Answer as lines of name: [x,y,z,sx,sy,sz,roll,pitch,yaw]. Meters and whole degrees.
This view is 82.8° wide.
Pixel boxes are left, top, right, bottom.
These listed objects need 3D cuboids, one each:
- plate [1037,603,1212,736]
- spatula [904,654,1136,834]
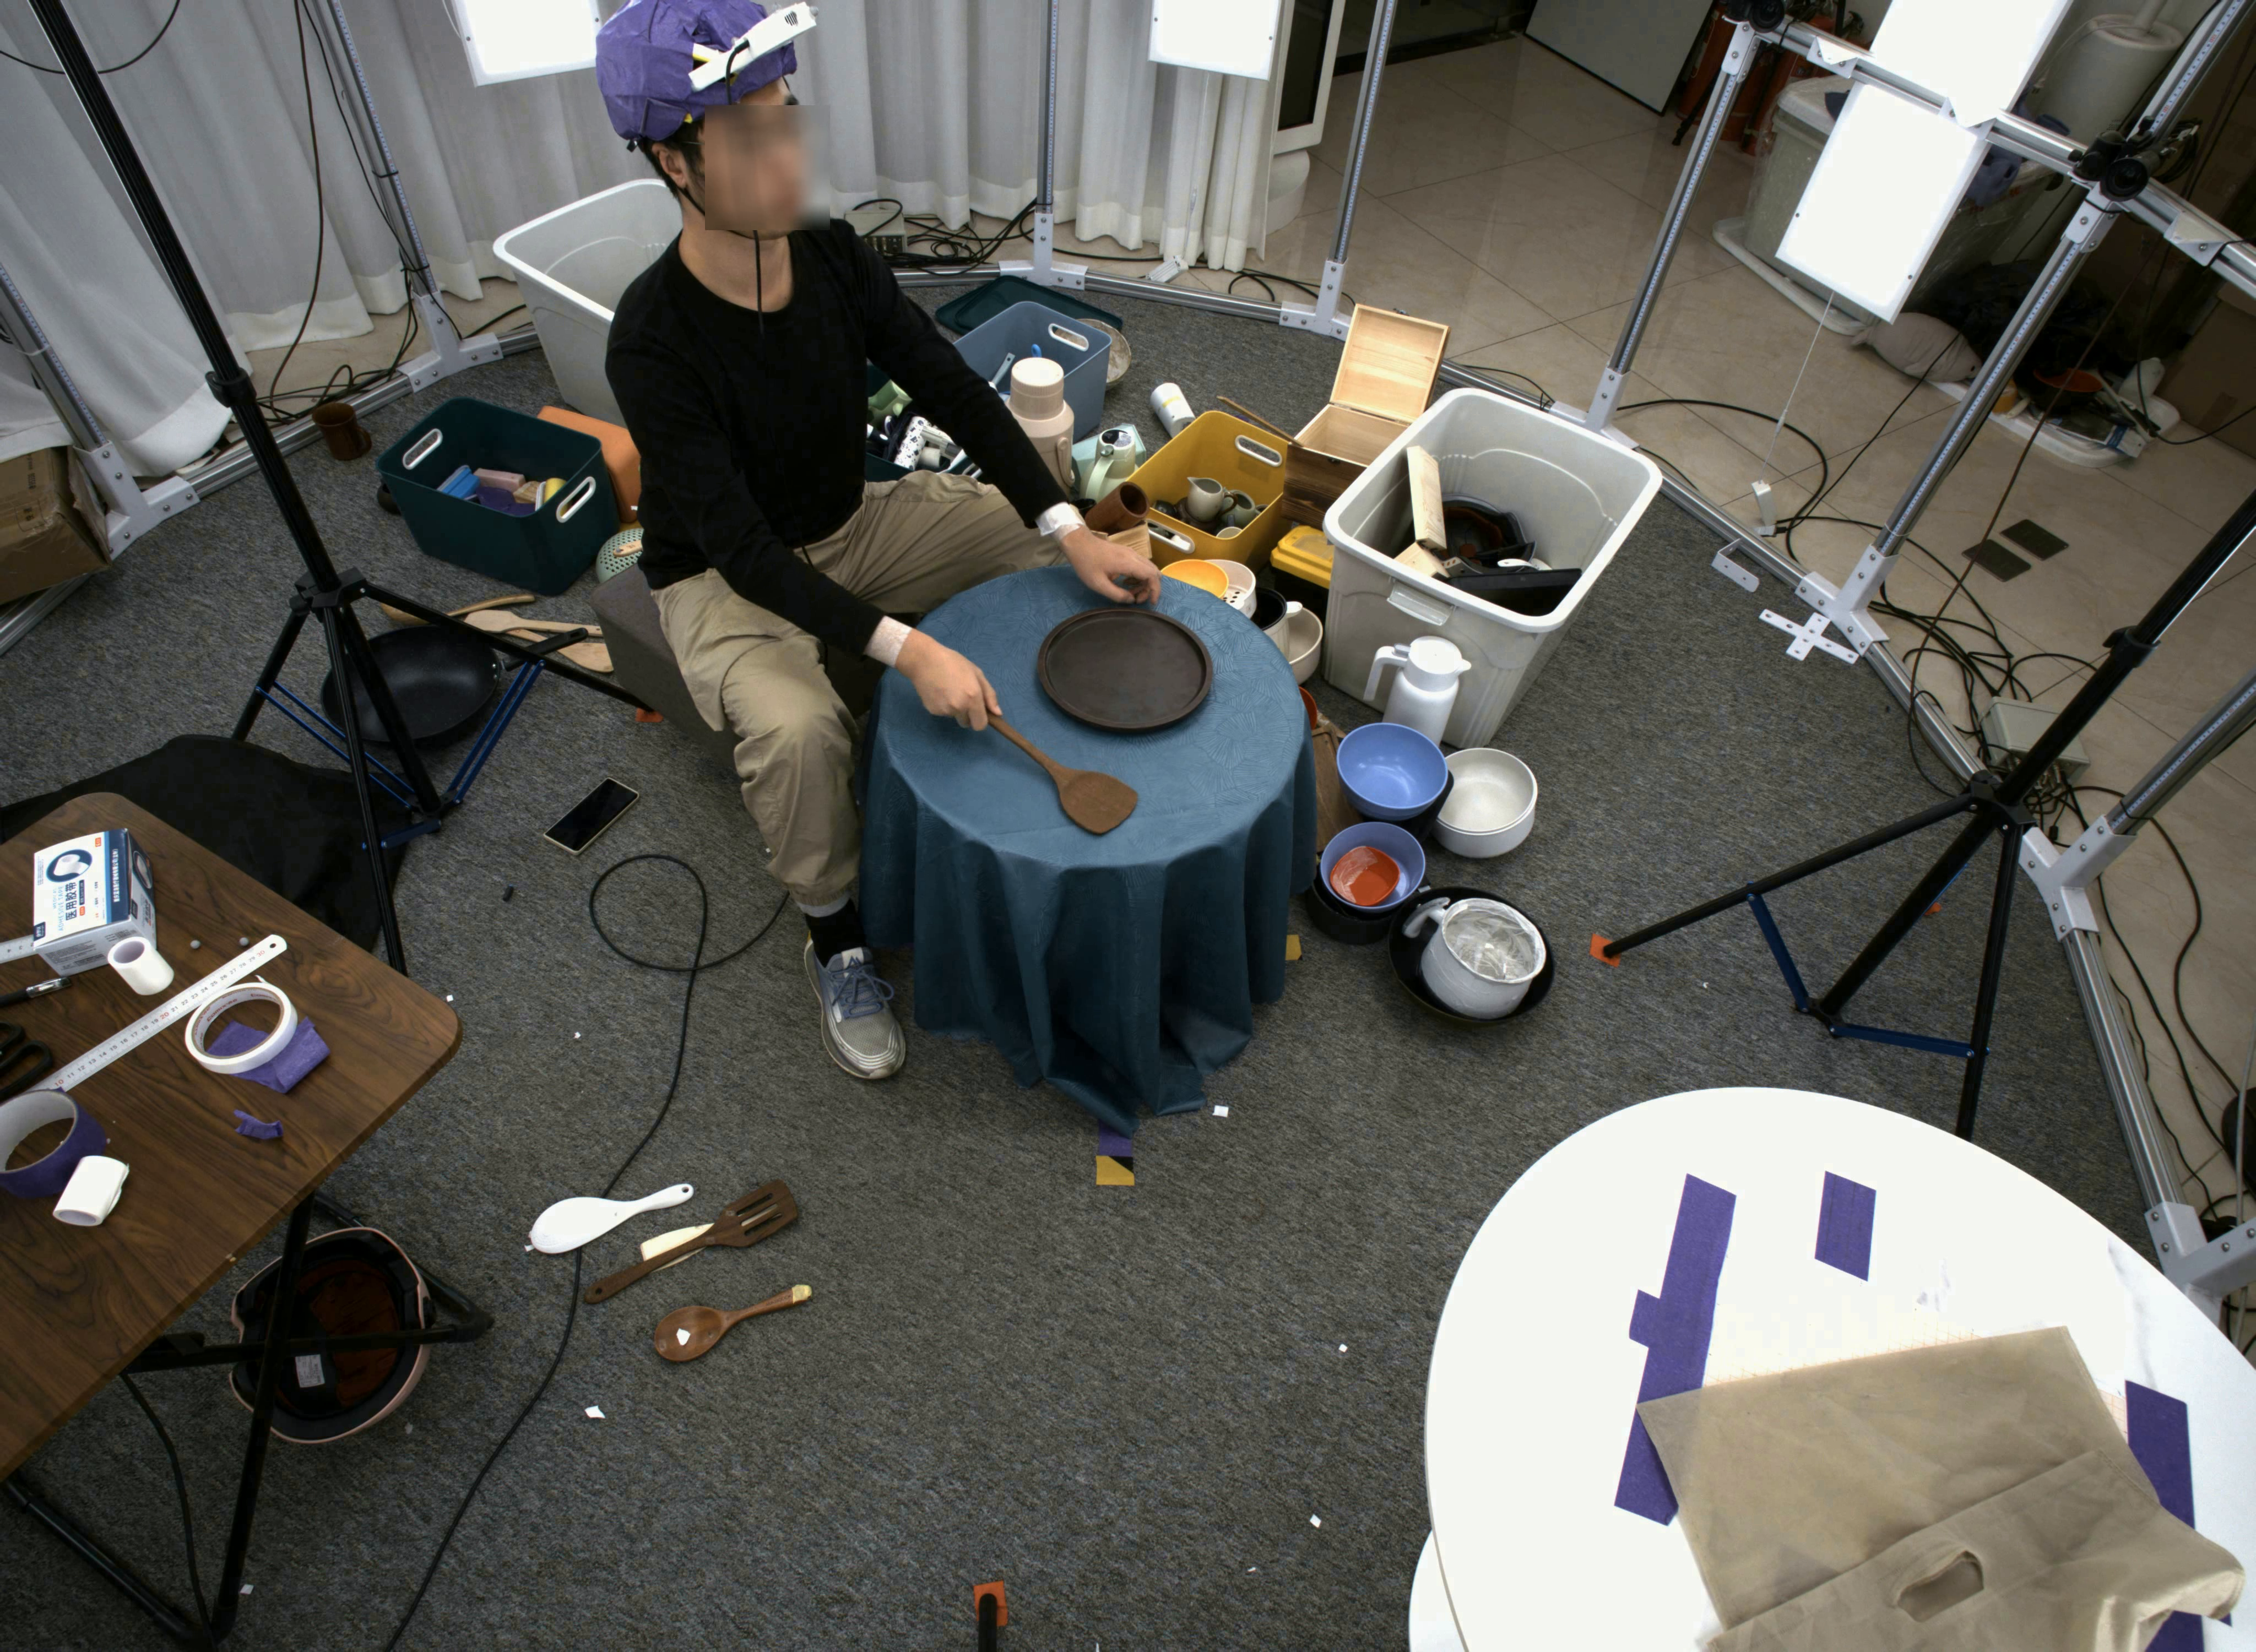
plate: [-0.005,-0.225,1.851,0.254,0.028,0.261,2,51,-2]
spatula: [-0.156,-0.121,1.725,0.389,0.015,0.097,38,55,14]
